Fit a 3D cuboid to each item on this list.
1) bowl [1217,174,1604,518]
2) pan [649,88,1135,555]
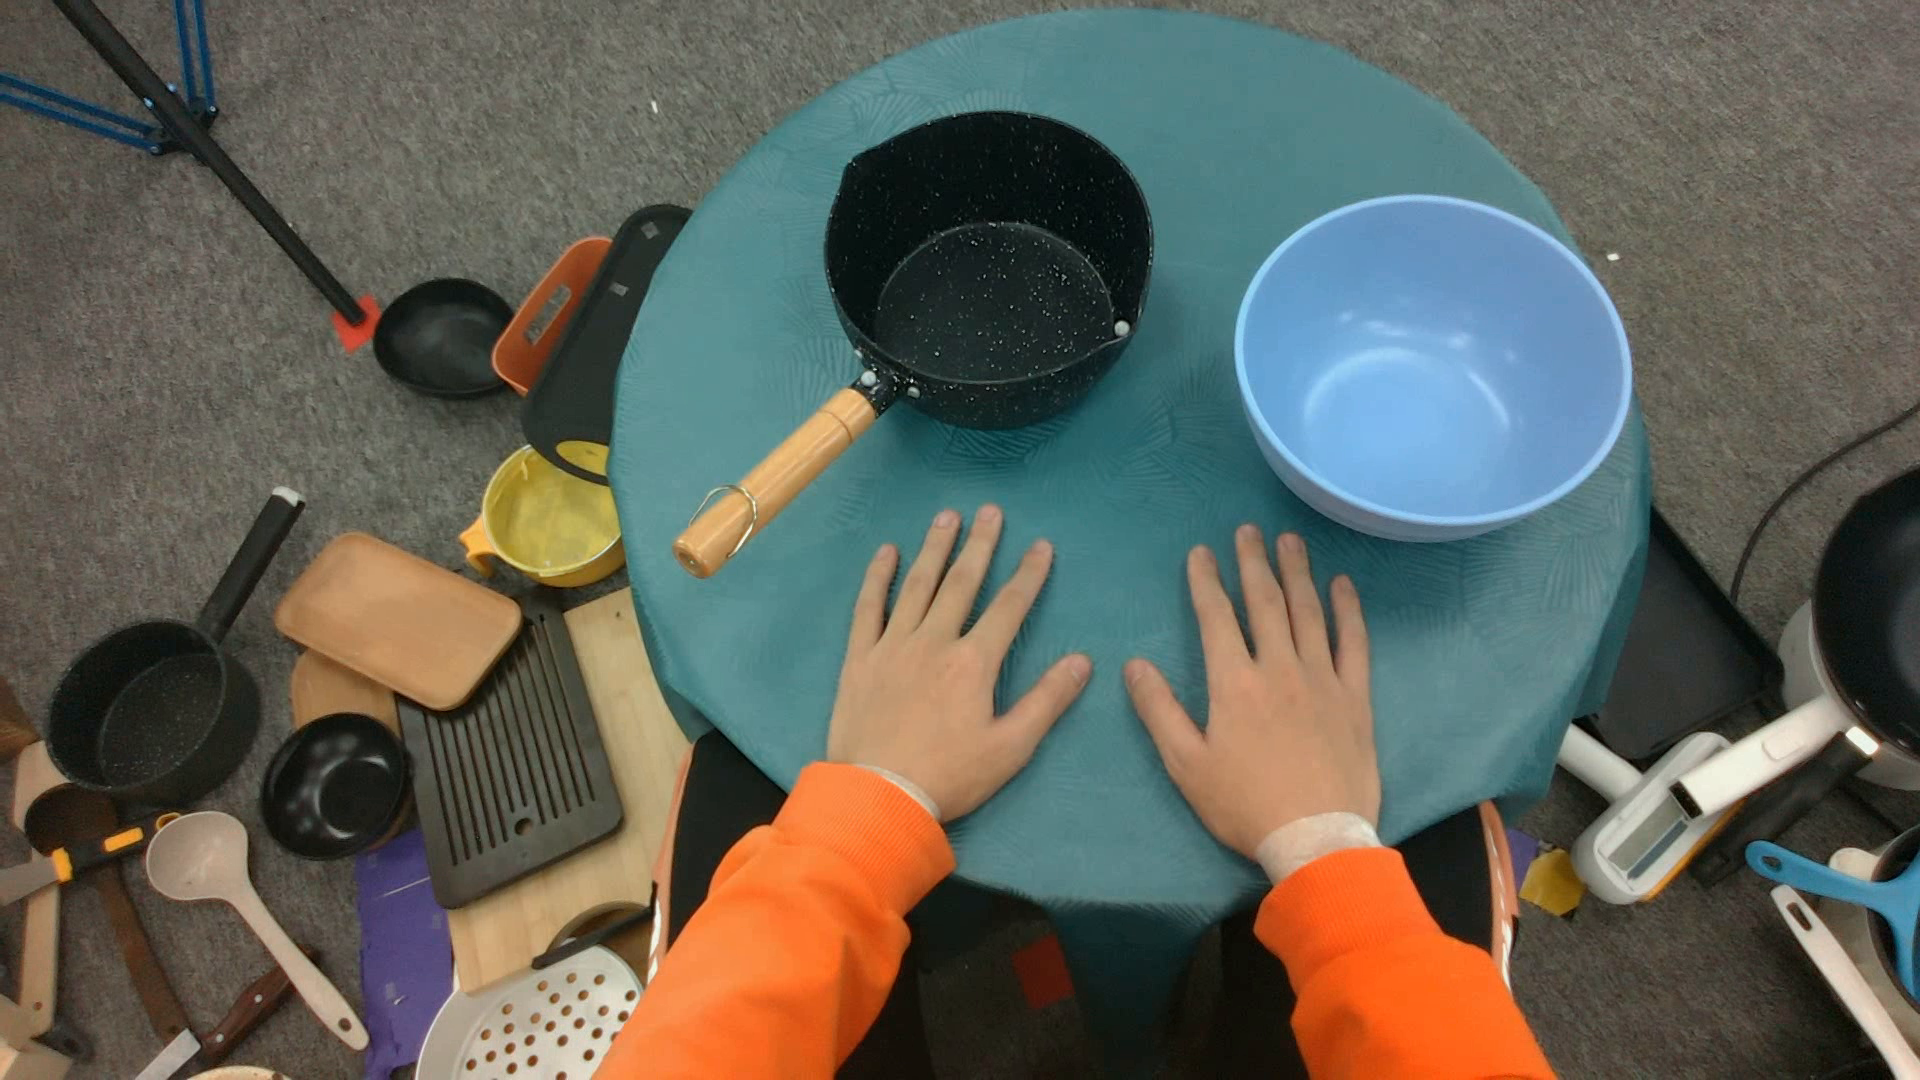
[{"bbox_3d":[0.233,-0.091,0.750,0.196,0.095,0.197,-1,65,2],"label":"bowl"},{"bbox_3d":[-0.040,-0.105,0.764,0.207,0.108,0.344,33,70,15],"label":"pan"}]
